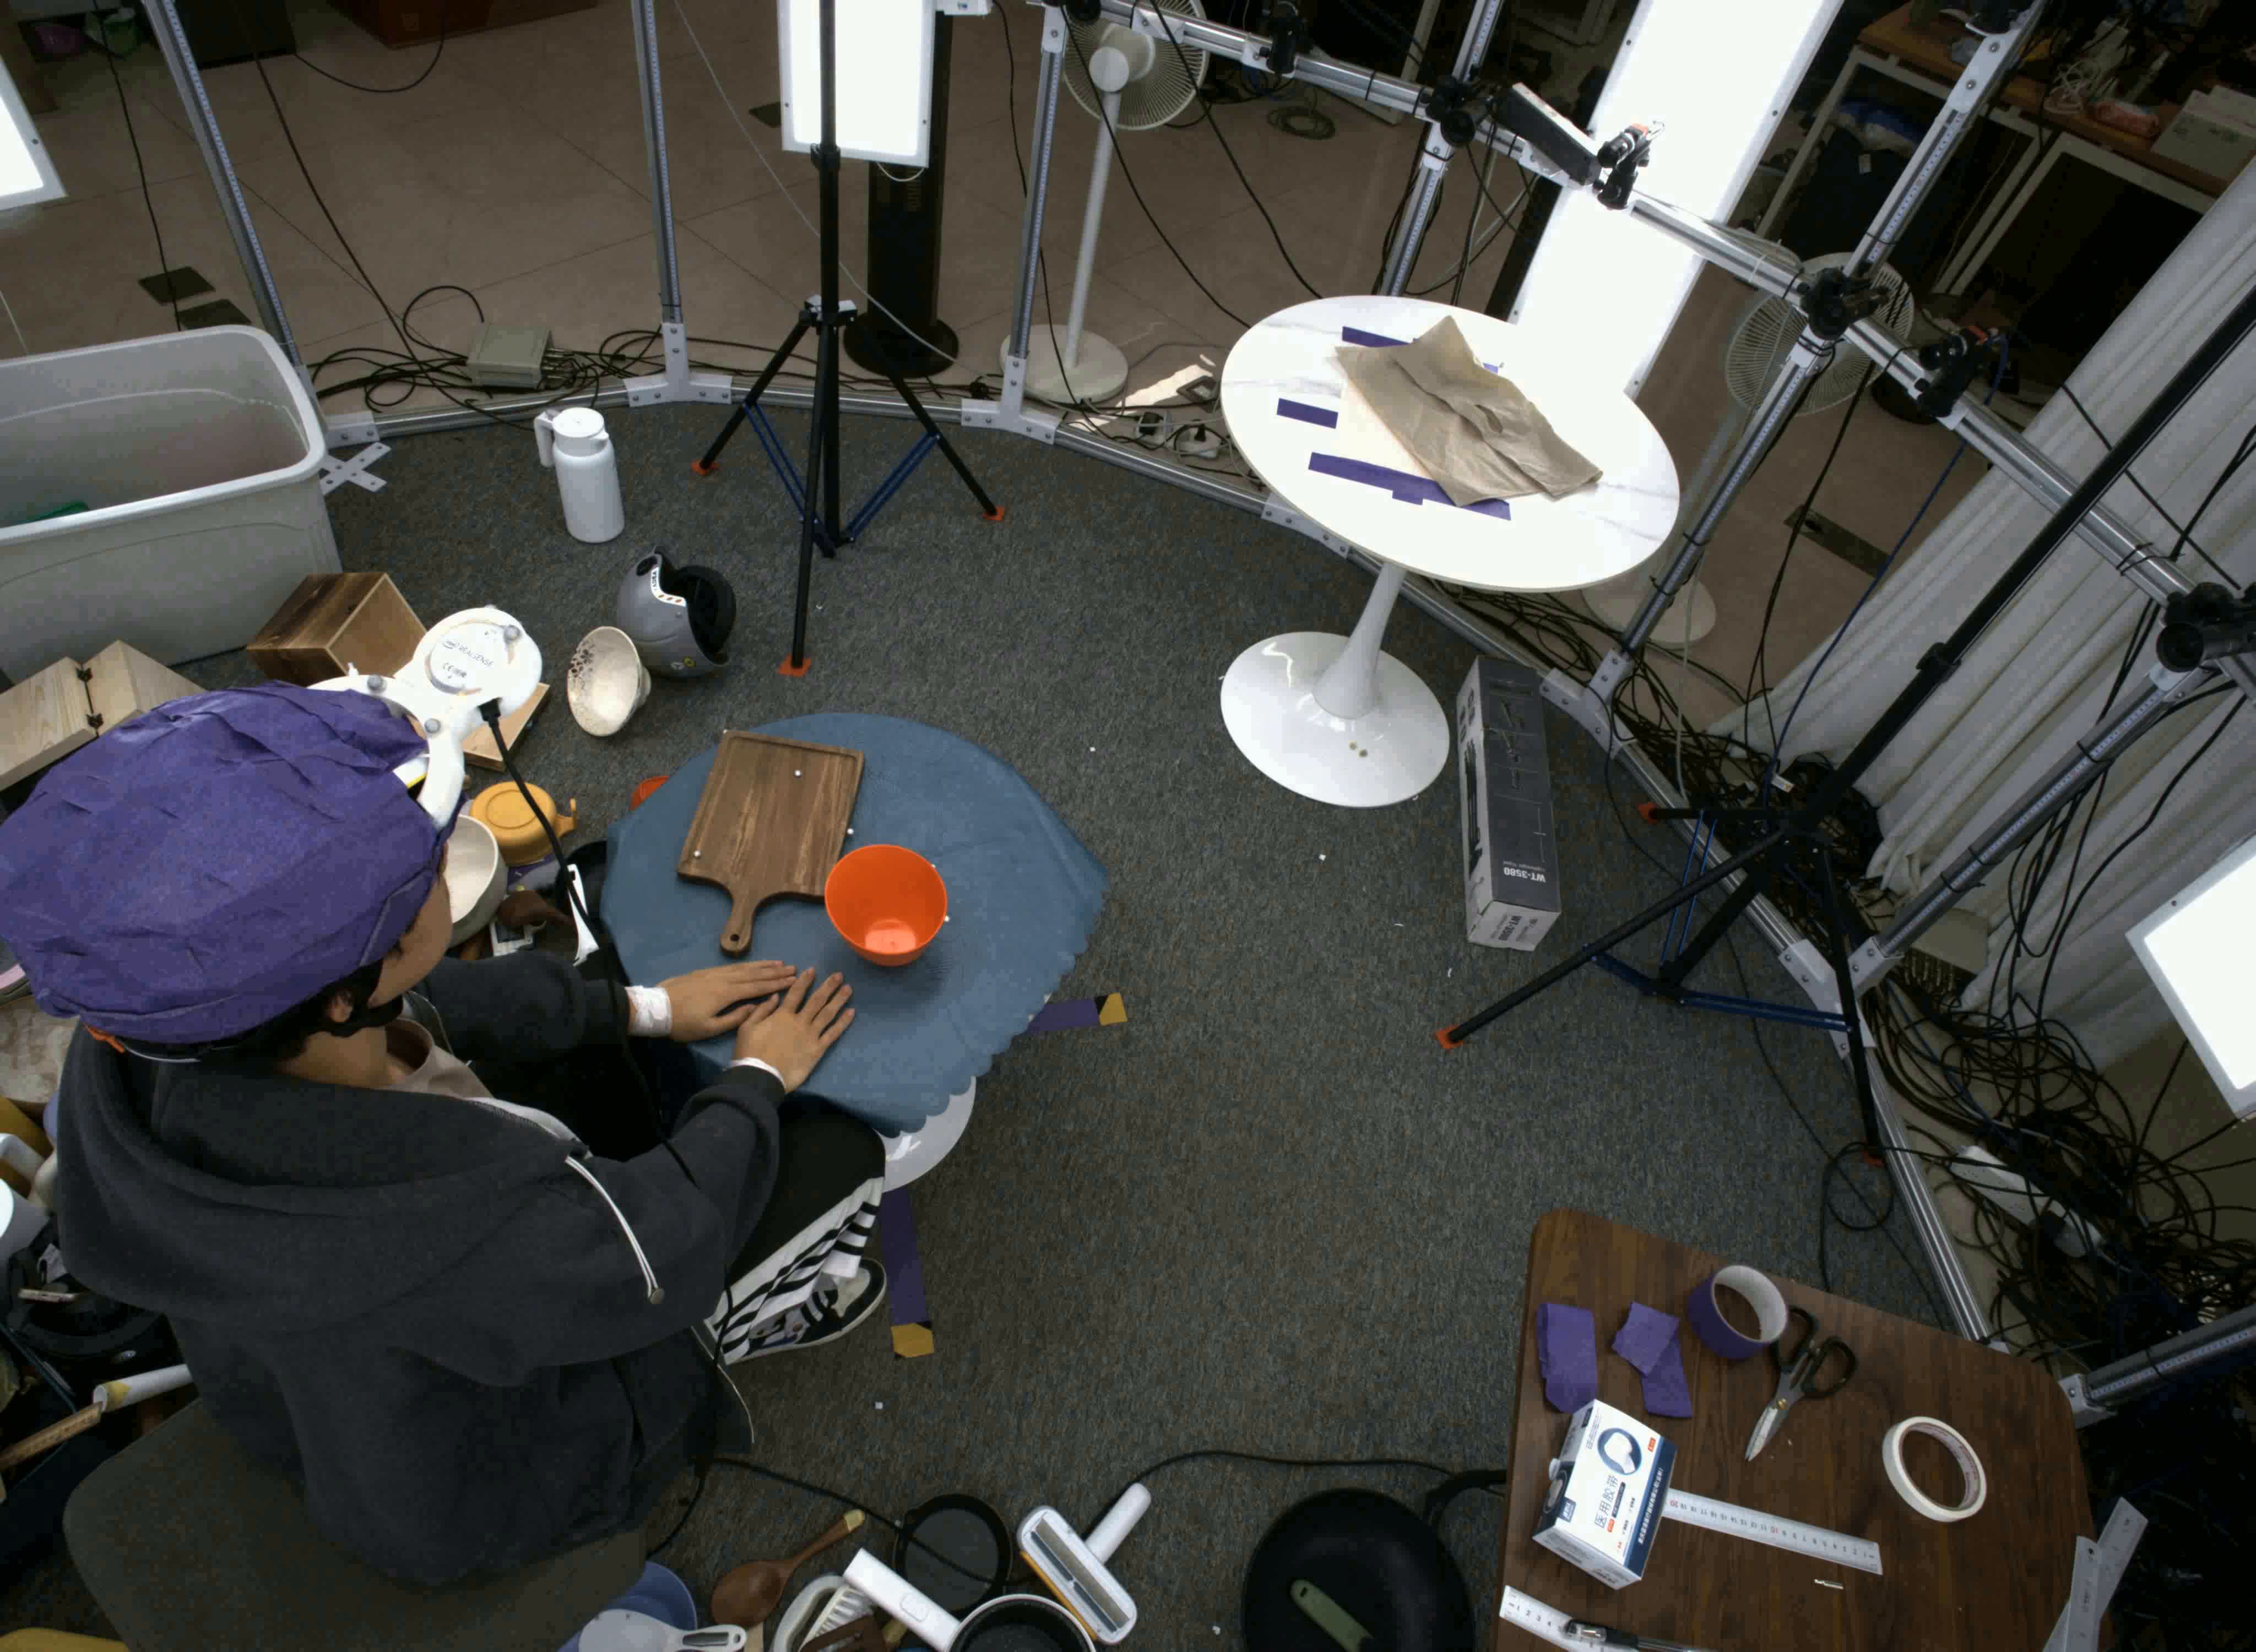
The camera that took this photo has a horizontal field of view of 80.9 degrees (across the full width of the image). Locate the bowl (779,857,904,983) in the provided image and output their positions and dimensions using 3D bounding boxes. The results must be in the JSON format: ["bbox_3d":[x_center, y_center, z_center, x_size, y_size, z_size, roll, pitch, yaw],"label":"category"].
[{"bbox_3d":[-0.349,0.126,1.589,0.147,0.107,0.145,7,51,-8],"label":"bowl"}]

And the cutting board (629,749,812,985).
[{"bbox_3d":[-0.528,0.045,1.655,0.200,0.023,0.346,7,53,-9],"label":"cutting board"}]
